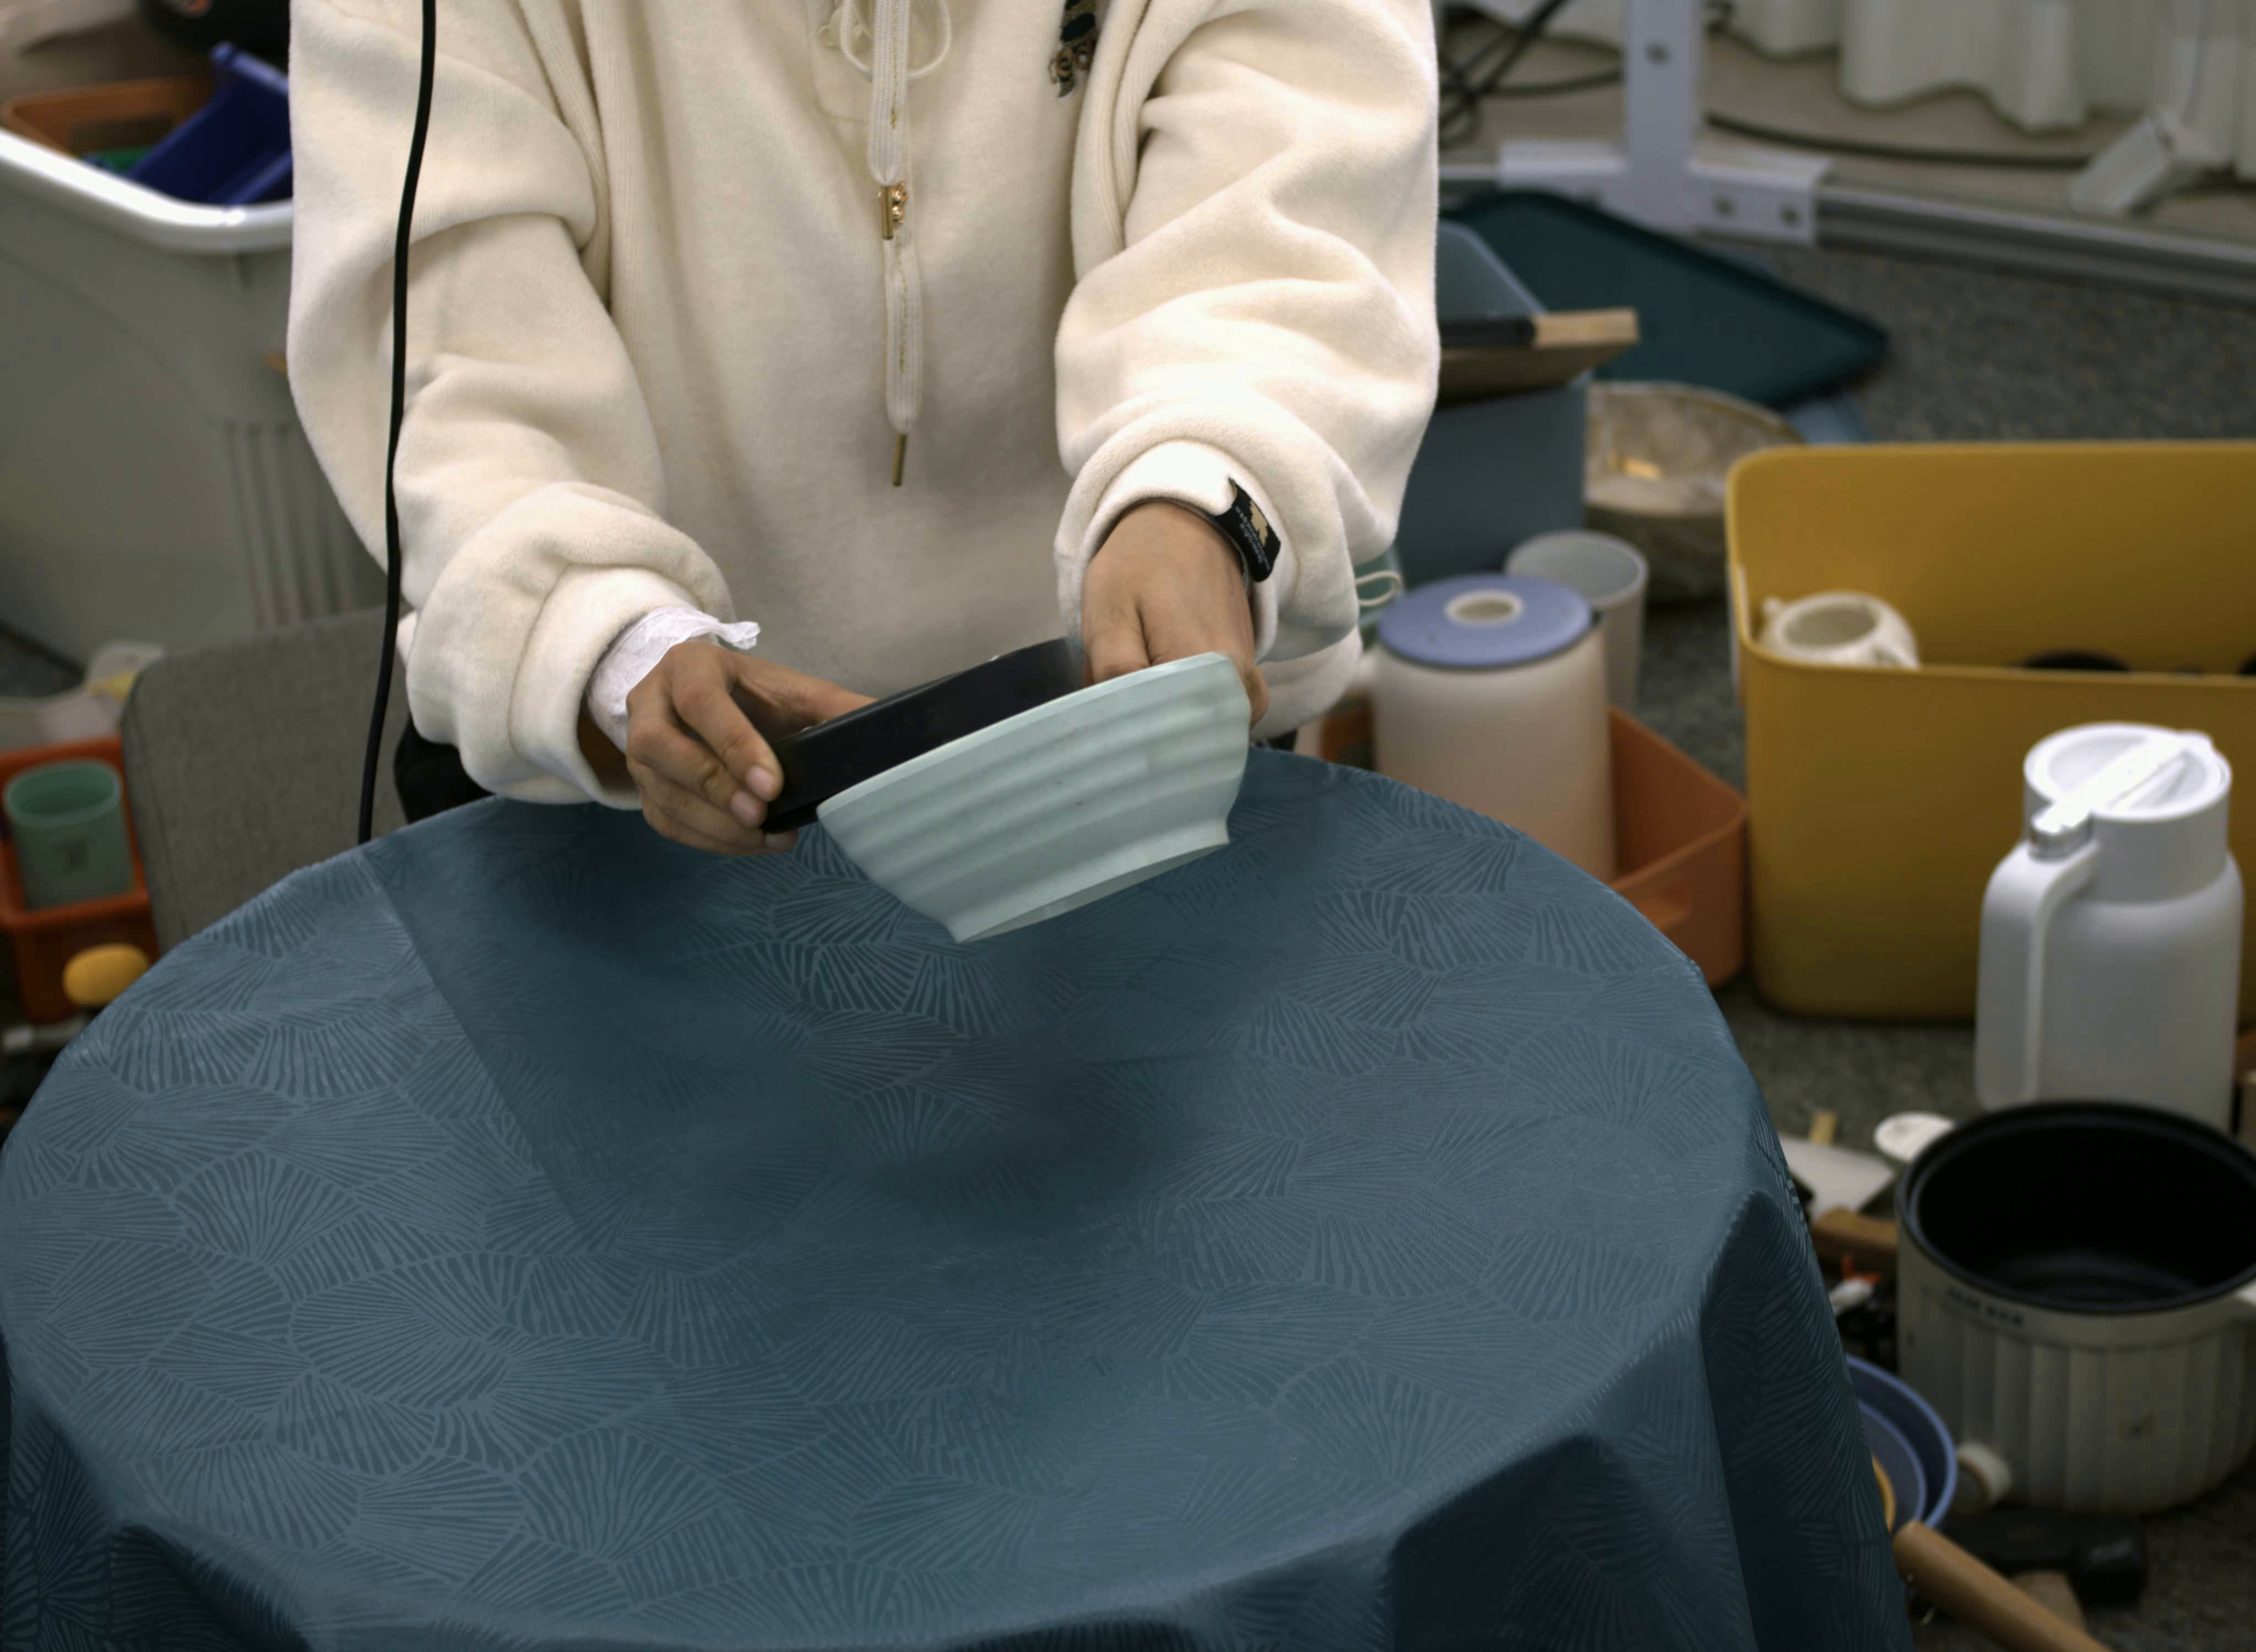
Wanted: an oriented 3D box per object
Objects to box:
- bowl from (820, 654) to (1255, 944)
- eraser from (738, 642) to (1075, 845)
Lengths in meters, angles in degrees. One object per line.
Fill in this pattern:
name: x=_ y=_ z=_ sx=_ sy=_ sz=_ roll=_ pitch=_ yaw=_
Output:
bowl: x=-0.021 y=-0.004 z=1.814 sx=0.151 sy=0.059 sz=0.151 roll=-20 pitch=-2 yaw=-1
eraser: x=-0.072 y=-0.027 z=1.837 sx=0.054 sy=0.030 sz=0.123 roll=-18 pitch=-4 yaw=-40
